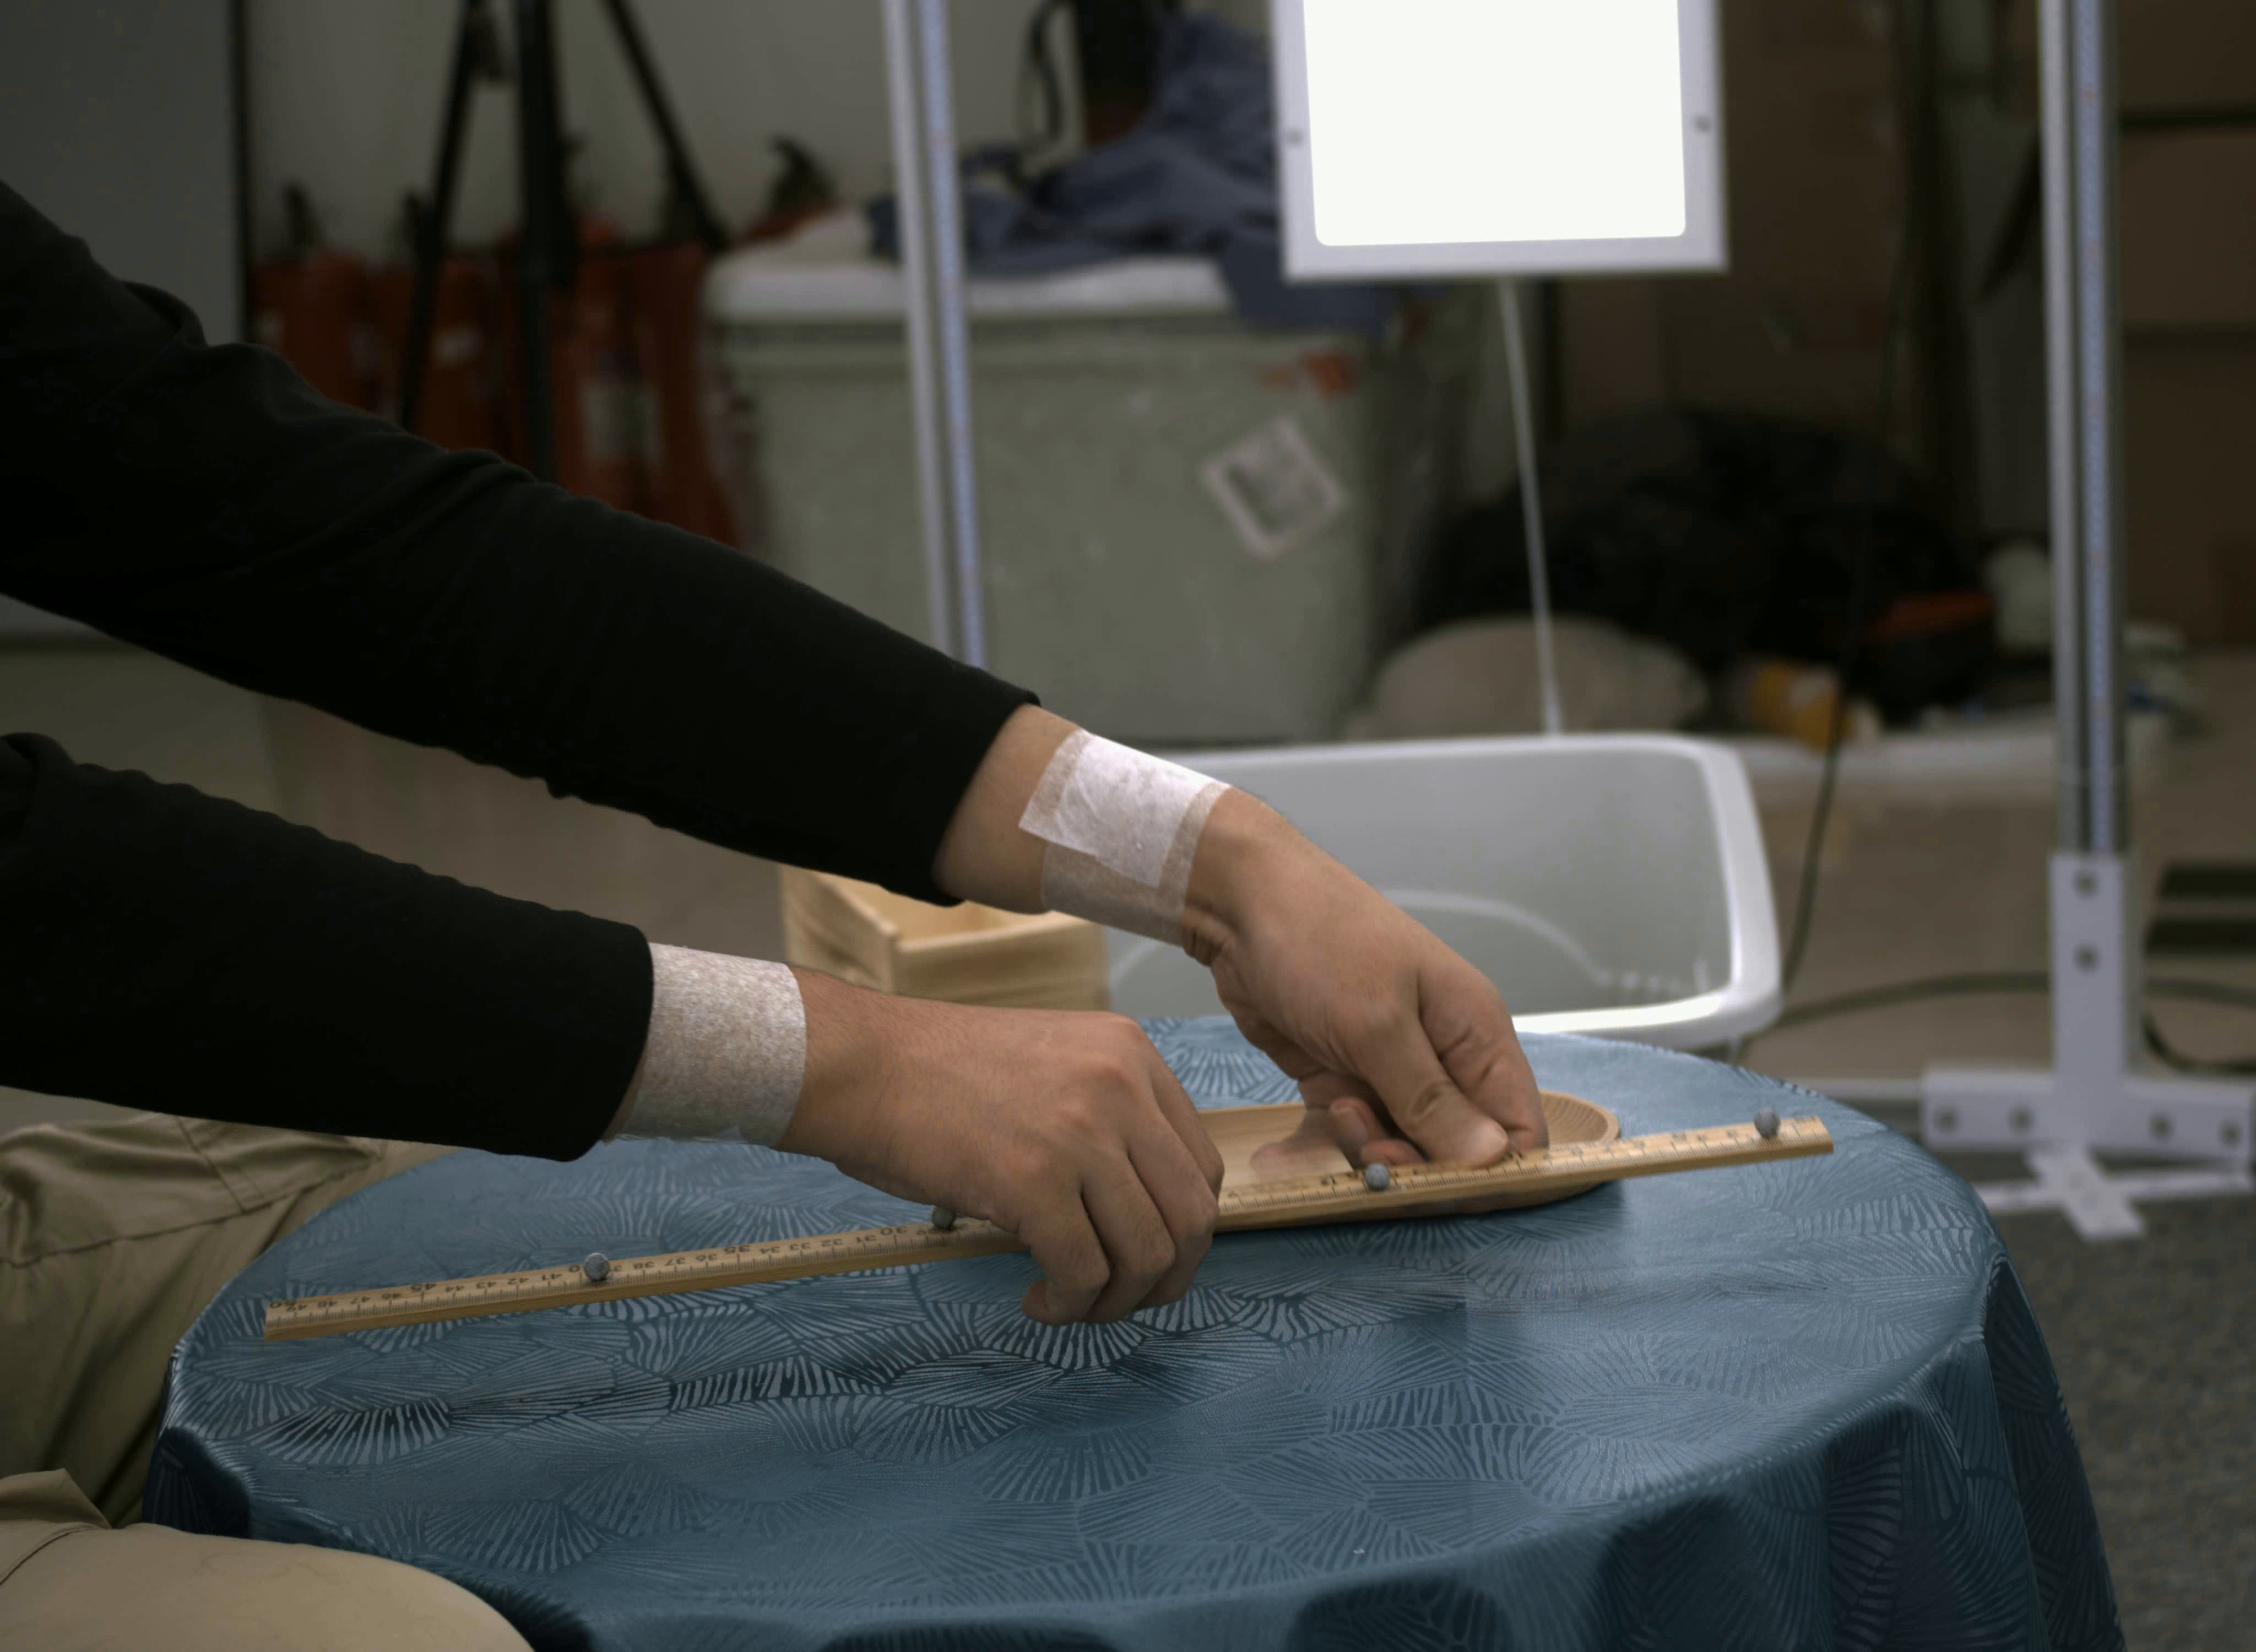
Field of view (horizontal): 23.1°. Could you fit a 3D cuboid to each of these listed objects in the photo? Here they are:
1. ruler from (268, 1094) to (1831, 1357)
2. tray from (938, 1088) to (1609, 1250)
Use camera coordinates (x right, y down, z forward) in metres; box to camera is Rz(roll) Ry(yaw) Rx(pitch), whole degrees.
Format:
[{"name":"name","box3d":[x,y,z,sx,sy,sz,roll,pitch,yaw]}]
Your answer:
[{"name":"ruler","box3d":[-0.024,0.126,1.745,0.499,0.006,0.027,-9,10,0]},{"name":"tray","box3d":[0.050,0.118,1.882,0.230,0.020,0.101,-7,12,0]}]
